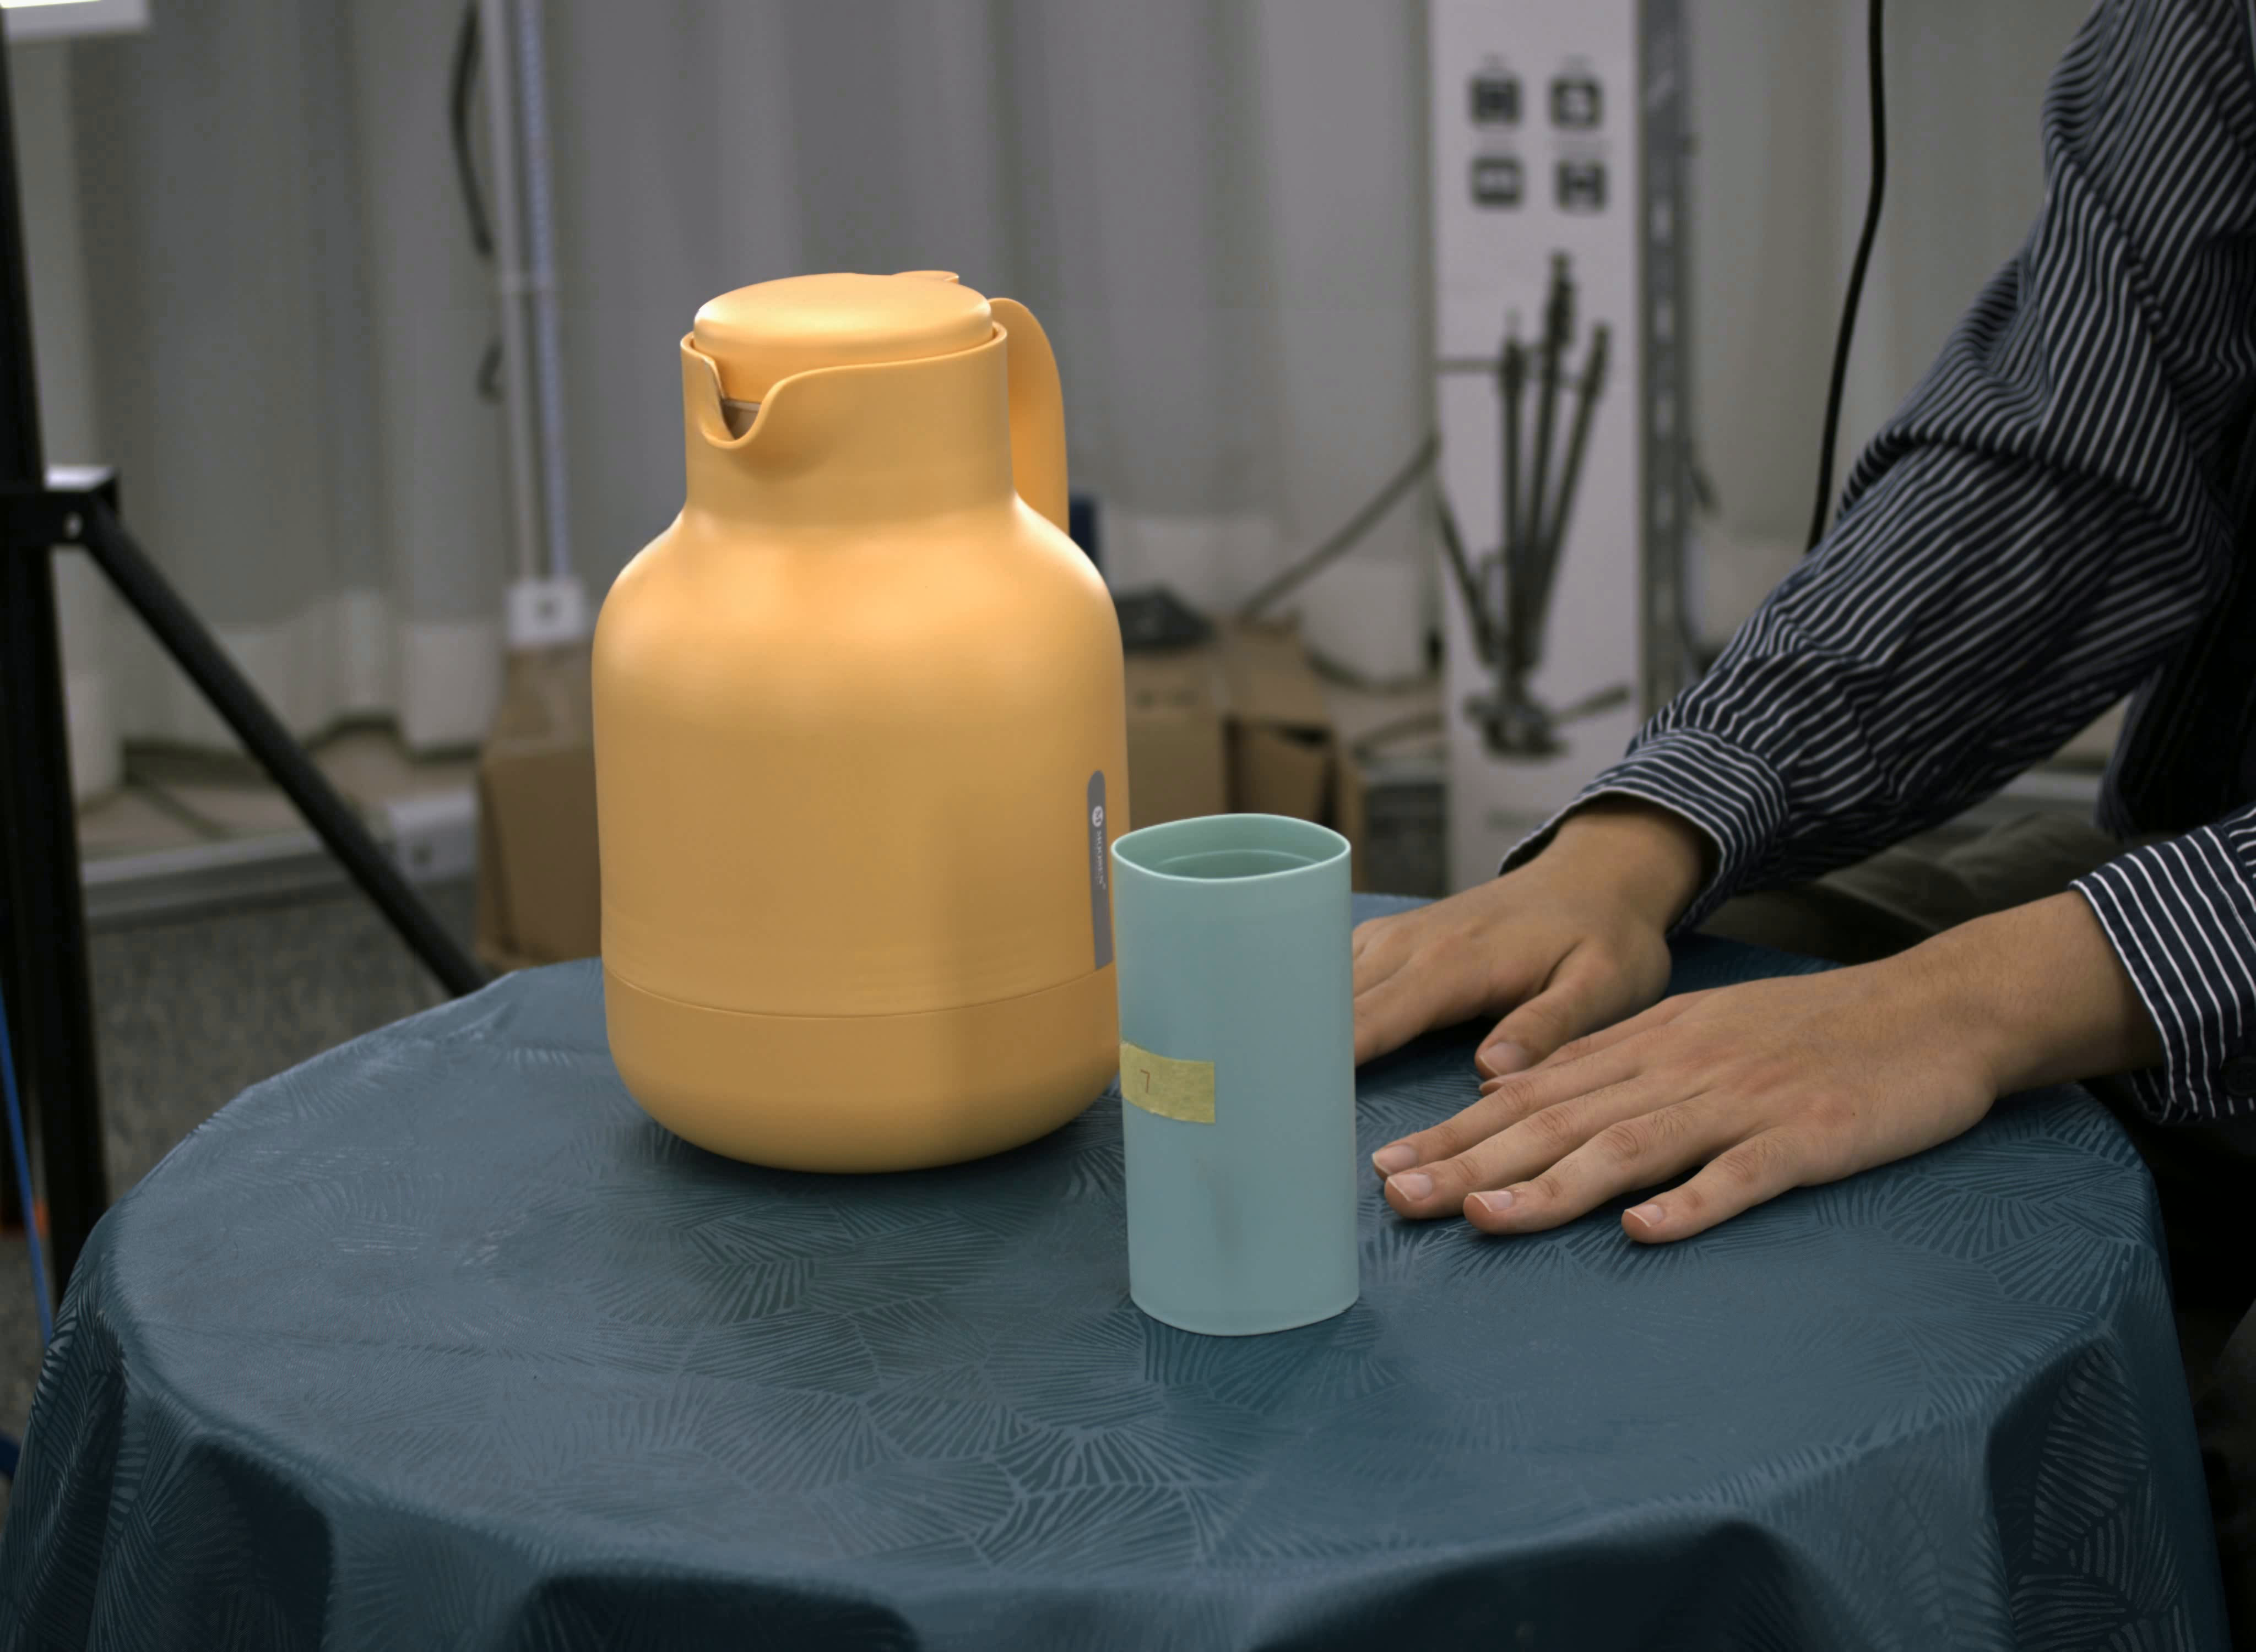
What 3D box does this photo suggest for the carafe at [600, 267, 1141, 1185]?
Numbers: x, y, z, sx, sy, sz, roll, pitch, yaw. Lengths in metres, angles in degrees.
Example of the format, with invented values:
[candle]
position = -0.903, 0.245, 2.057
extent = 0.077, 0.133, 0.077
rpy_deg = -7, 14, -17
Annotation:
[carafe]
position = -0.068, -0.038, 1.610
extent = 0.166, 0.260, 0.199
rpy_deg = 6, 18, 23

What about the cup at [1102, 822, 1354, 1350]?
[cup]
position = 0.030, 0.071, 1.460
extent = 0.066, 0.132, 0.067
rpy_deg = -3, 16, 0
